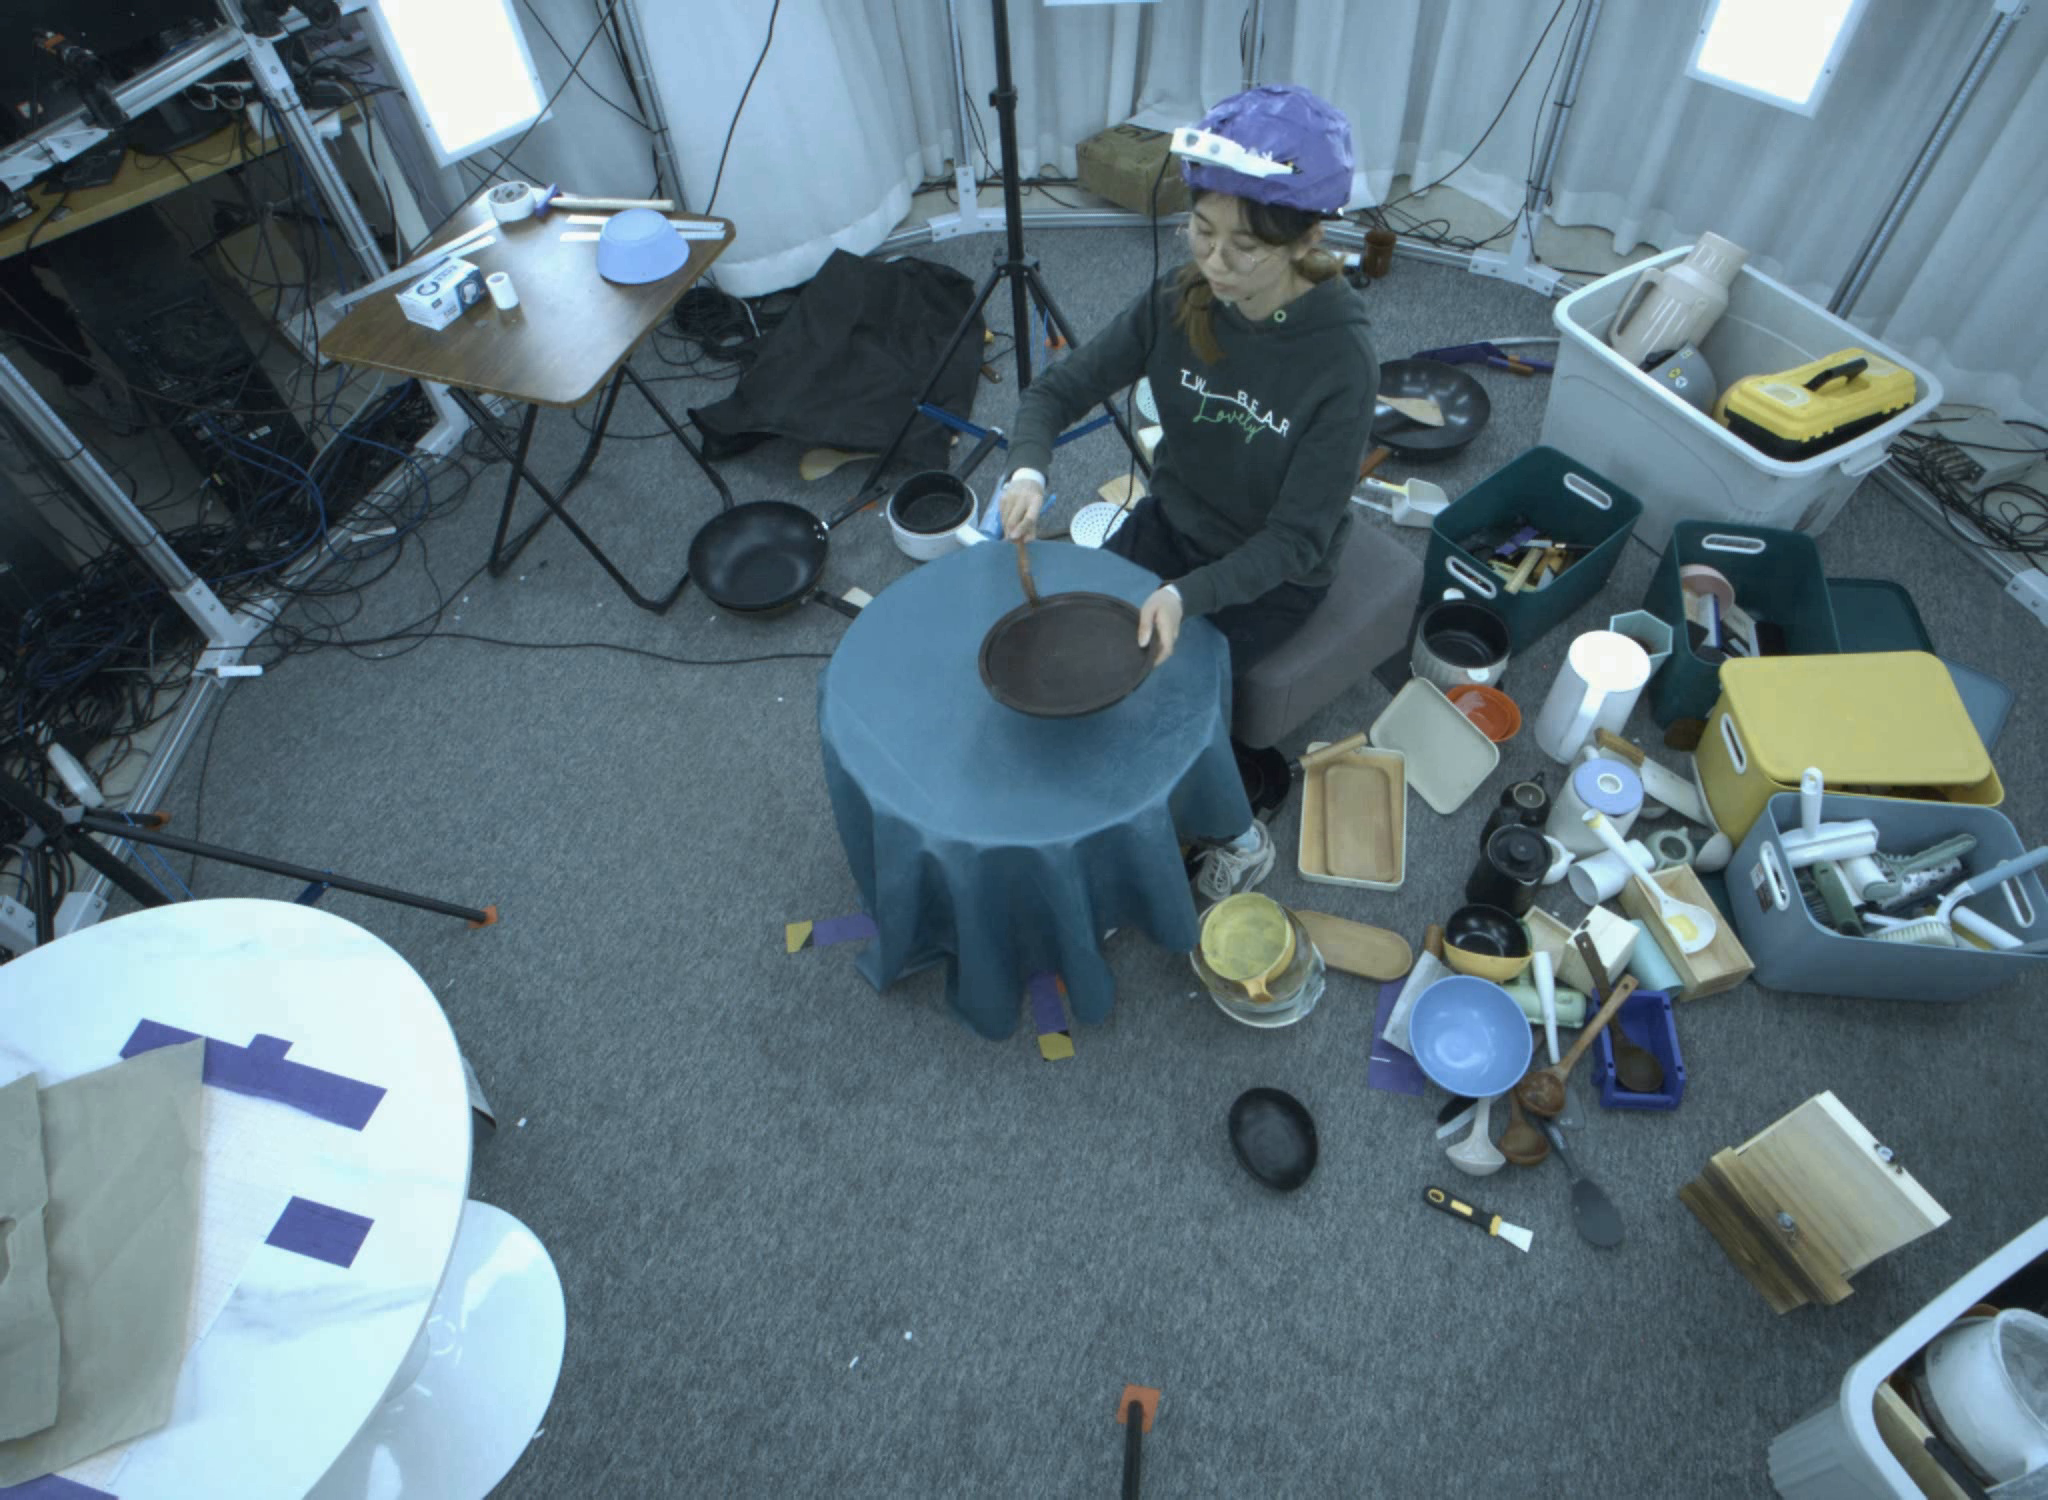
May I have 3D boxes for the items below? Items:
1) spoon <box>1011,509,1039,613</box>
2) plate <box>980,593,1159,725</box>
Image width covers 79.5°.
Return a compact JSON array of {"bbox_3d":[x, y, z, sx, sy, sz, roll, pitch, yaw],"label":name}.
[{"bbox_3d":[-0.002,-0.276,1.748,0.017,0.076,0.213,-12,47,4],"label":"spoon"},{"bbox_3d":[0.063,-0.128,1.728,0.254,0.029,0.252,-4,49,6],"label":"plate"}]
